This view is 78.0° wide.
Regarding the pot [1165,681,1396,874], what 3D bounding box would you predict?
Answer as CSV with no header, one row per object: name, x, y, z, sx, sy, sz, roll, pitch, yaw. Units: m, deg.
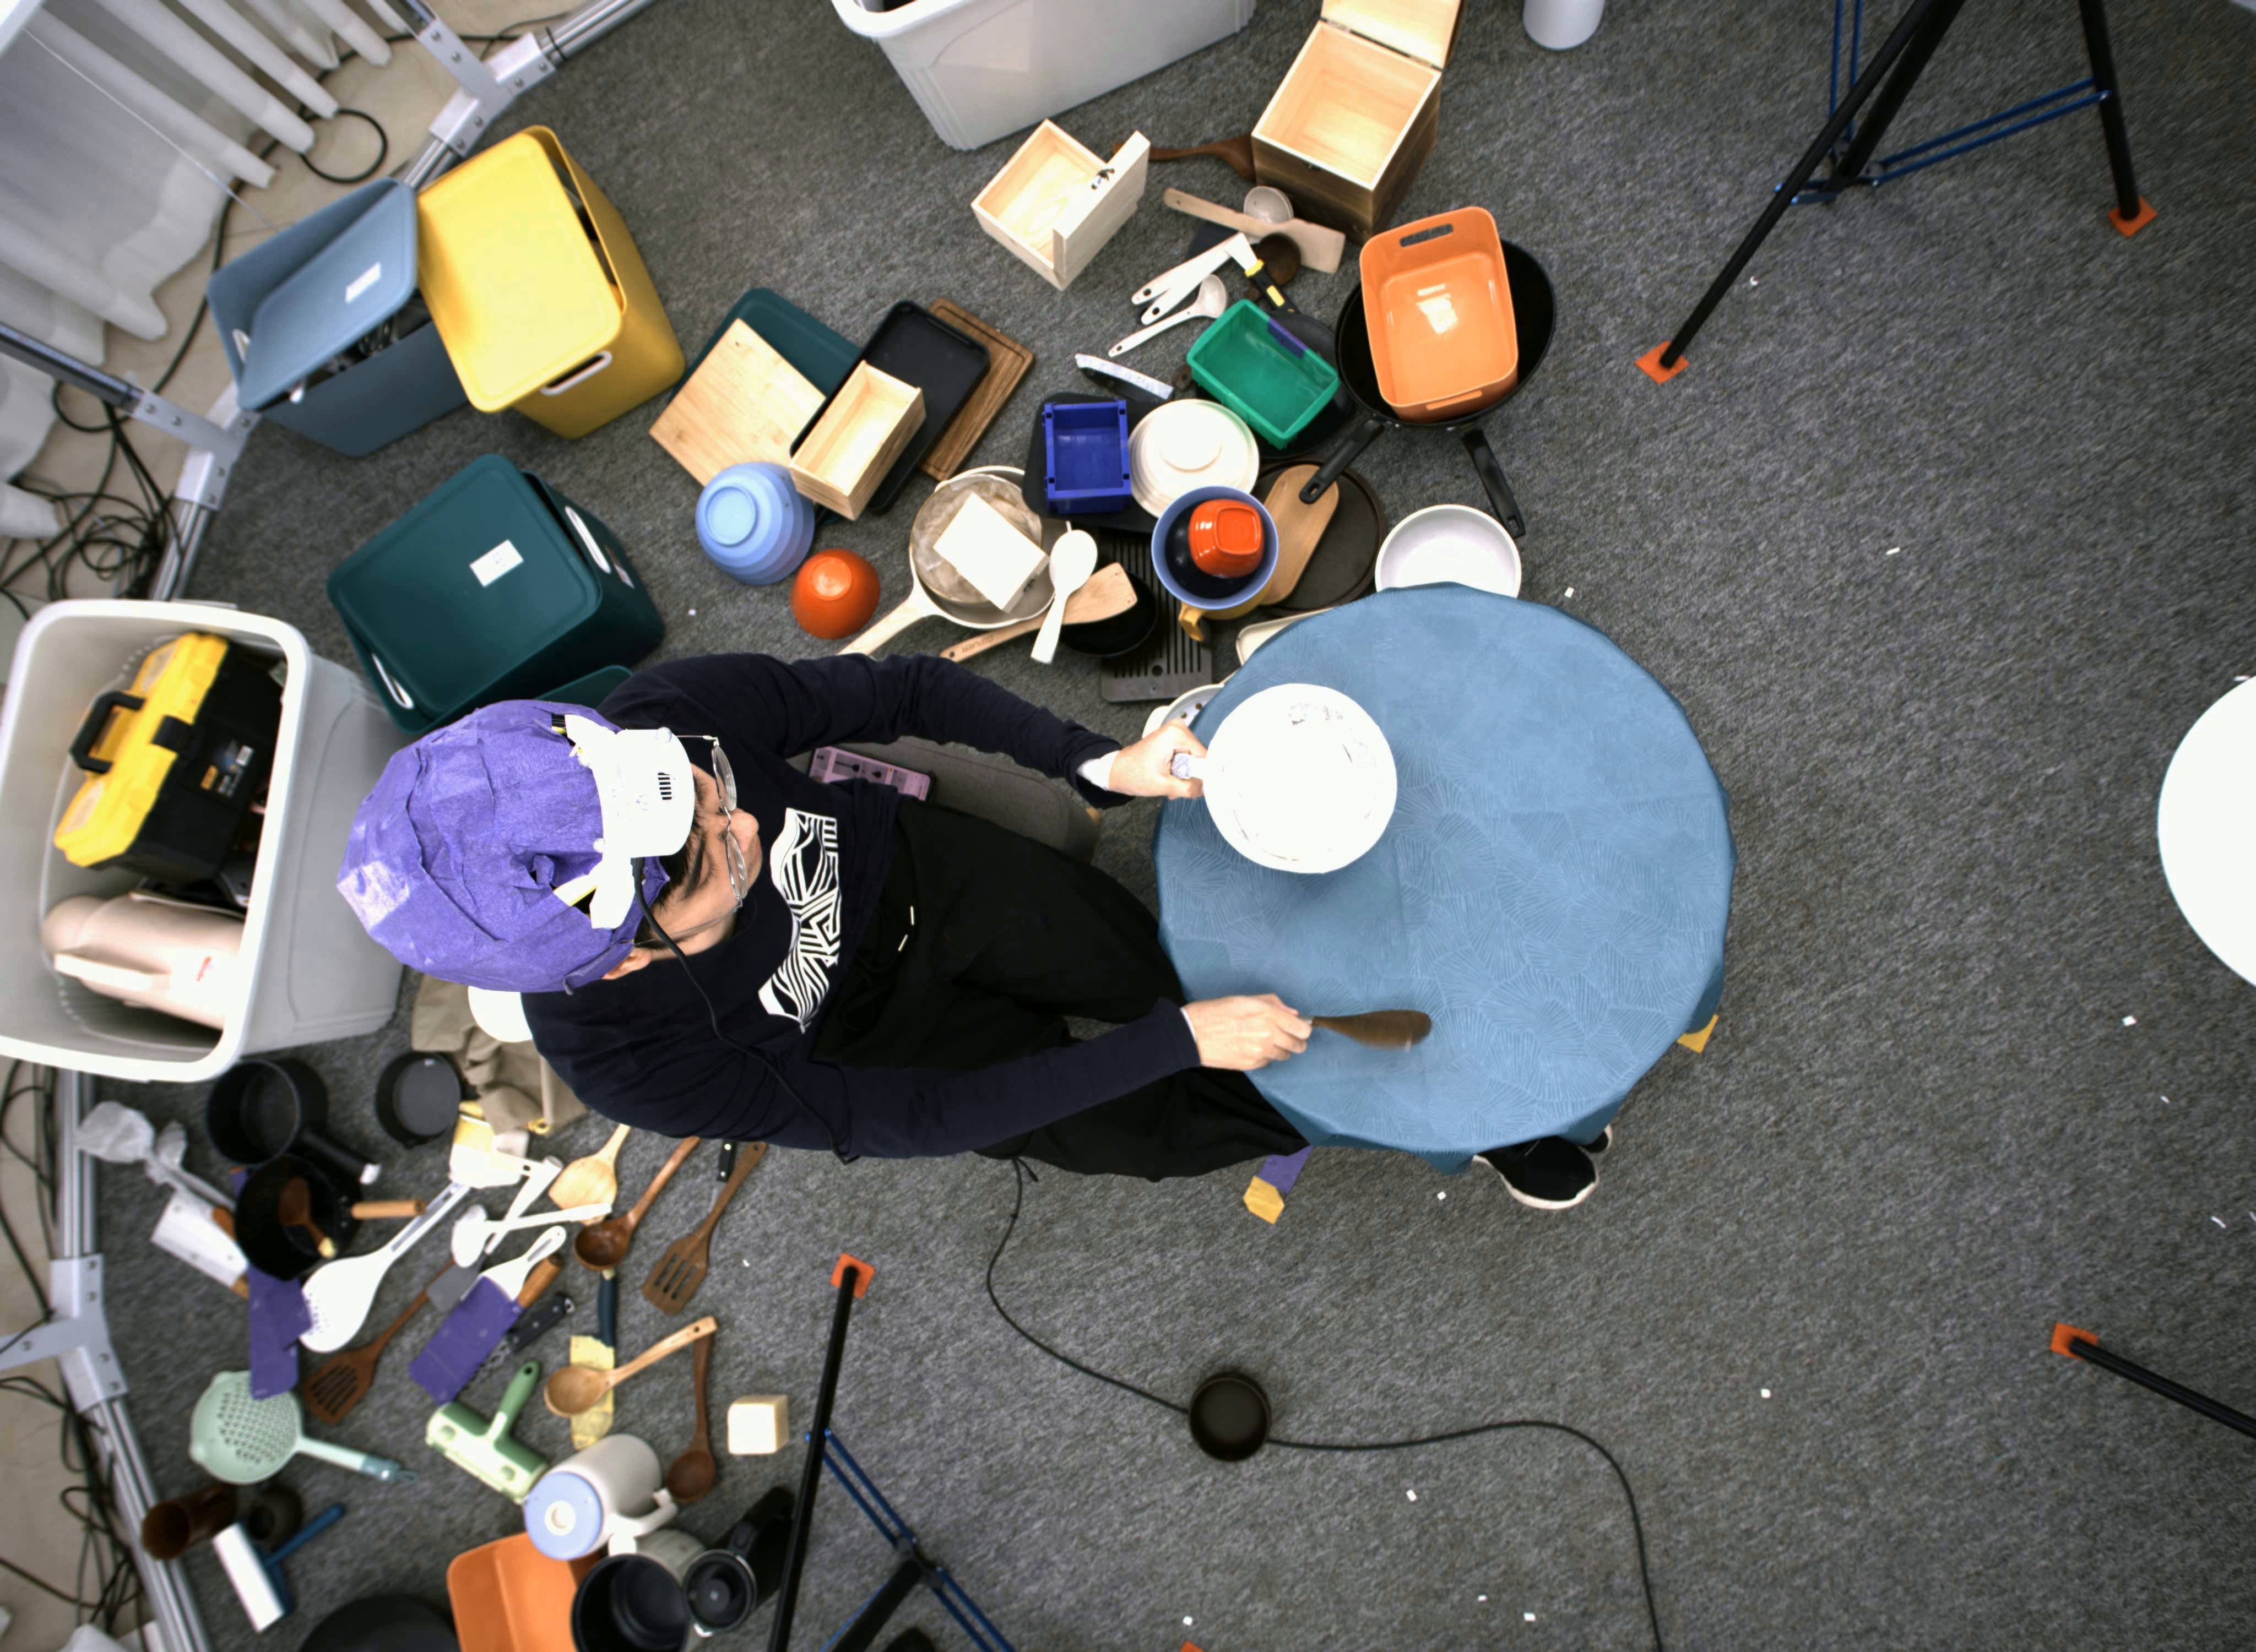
pot,0.145,-0.045,1.358,0.234,0.136,0.178,5,88,14

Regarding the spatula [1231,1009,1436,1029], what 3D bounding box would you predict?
spatula,0.207,0.194,1.422,0.217,0.071,0.009,-1,94,23
